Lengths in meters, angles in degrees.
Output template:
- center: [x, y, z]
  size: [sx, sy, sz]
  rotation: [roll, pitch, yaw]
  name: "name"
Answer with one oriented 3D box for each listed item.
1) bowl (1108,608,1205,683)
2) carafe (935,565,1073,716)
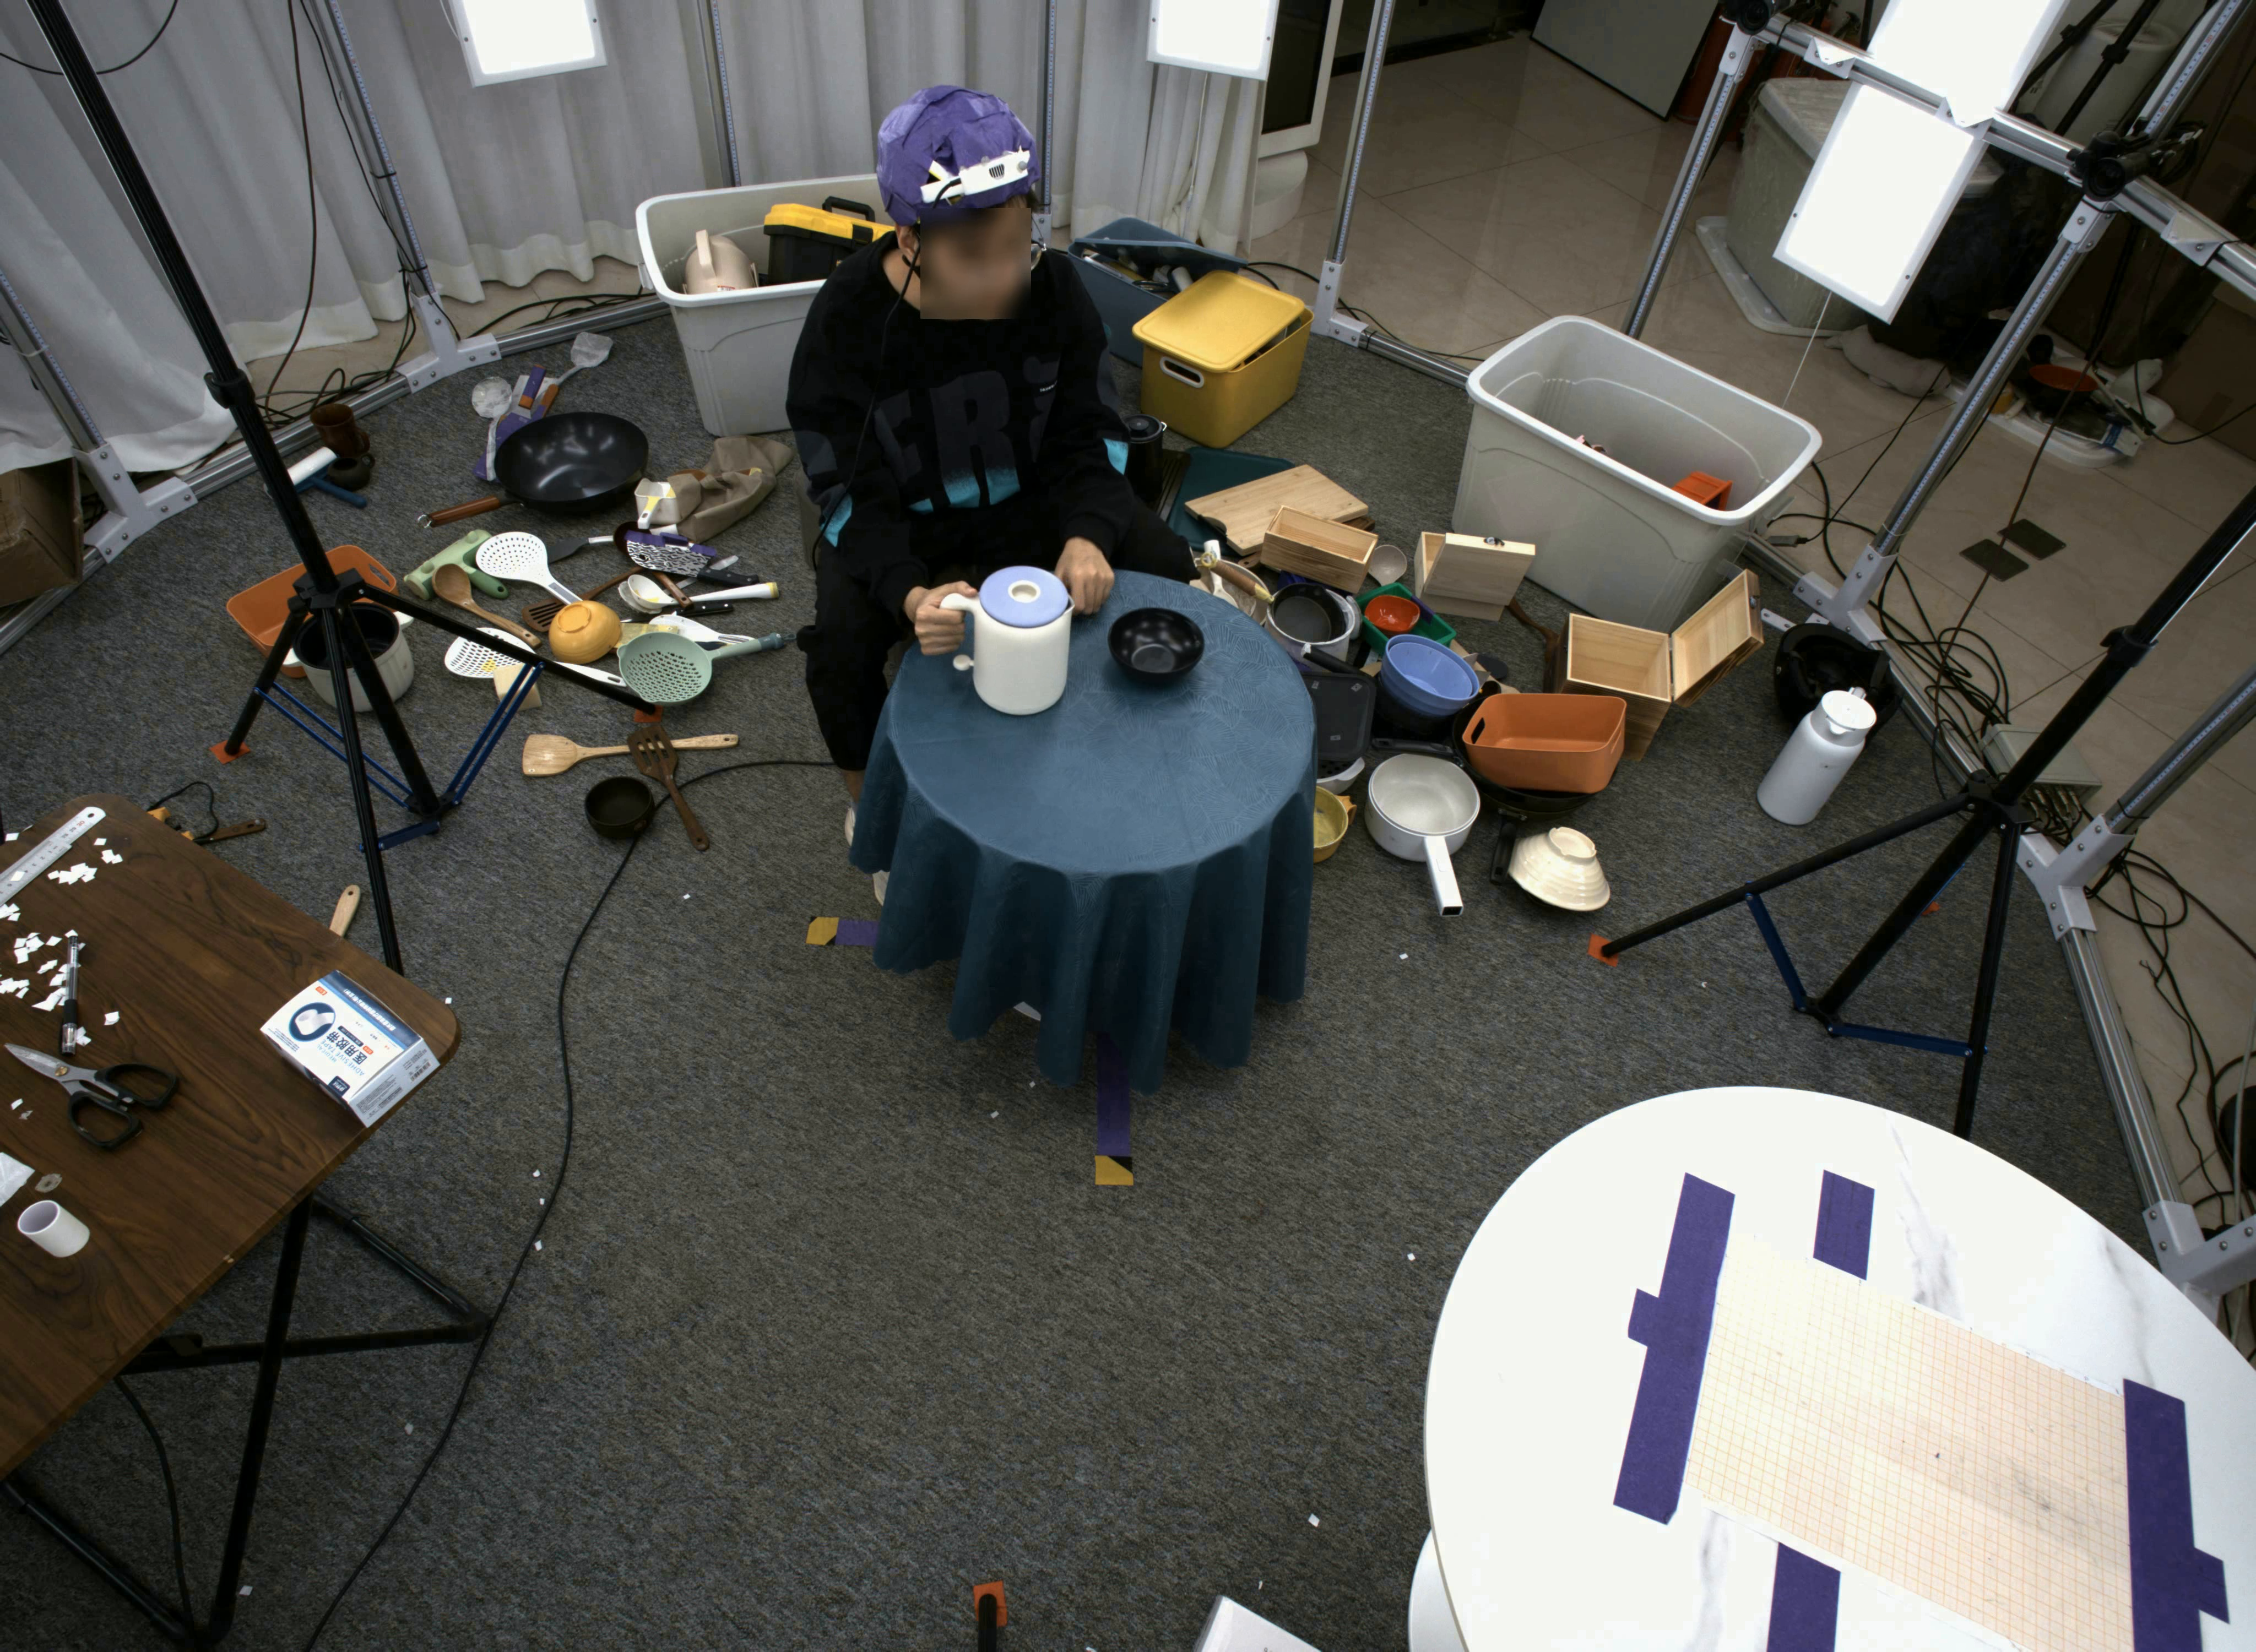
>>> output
- center: [0.040, -0.253, 1.859]
  size: [0.140, 0.048, 0.143]
  rotation: [1, 48, -1]
  name: "bowl"
- center: [-0.170, -0.257, 1.767]
  size: [0.191, 0.178, 0.135]
  rotation: [5, 49, 2]
  name: "carafe"
